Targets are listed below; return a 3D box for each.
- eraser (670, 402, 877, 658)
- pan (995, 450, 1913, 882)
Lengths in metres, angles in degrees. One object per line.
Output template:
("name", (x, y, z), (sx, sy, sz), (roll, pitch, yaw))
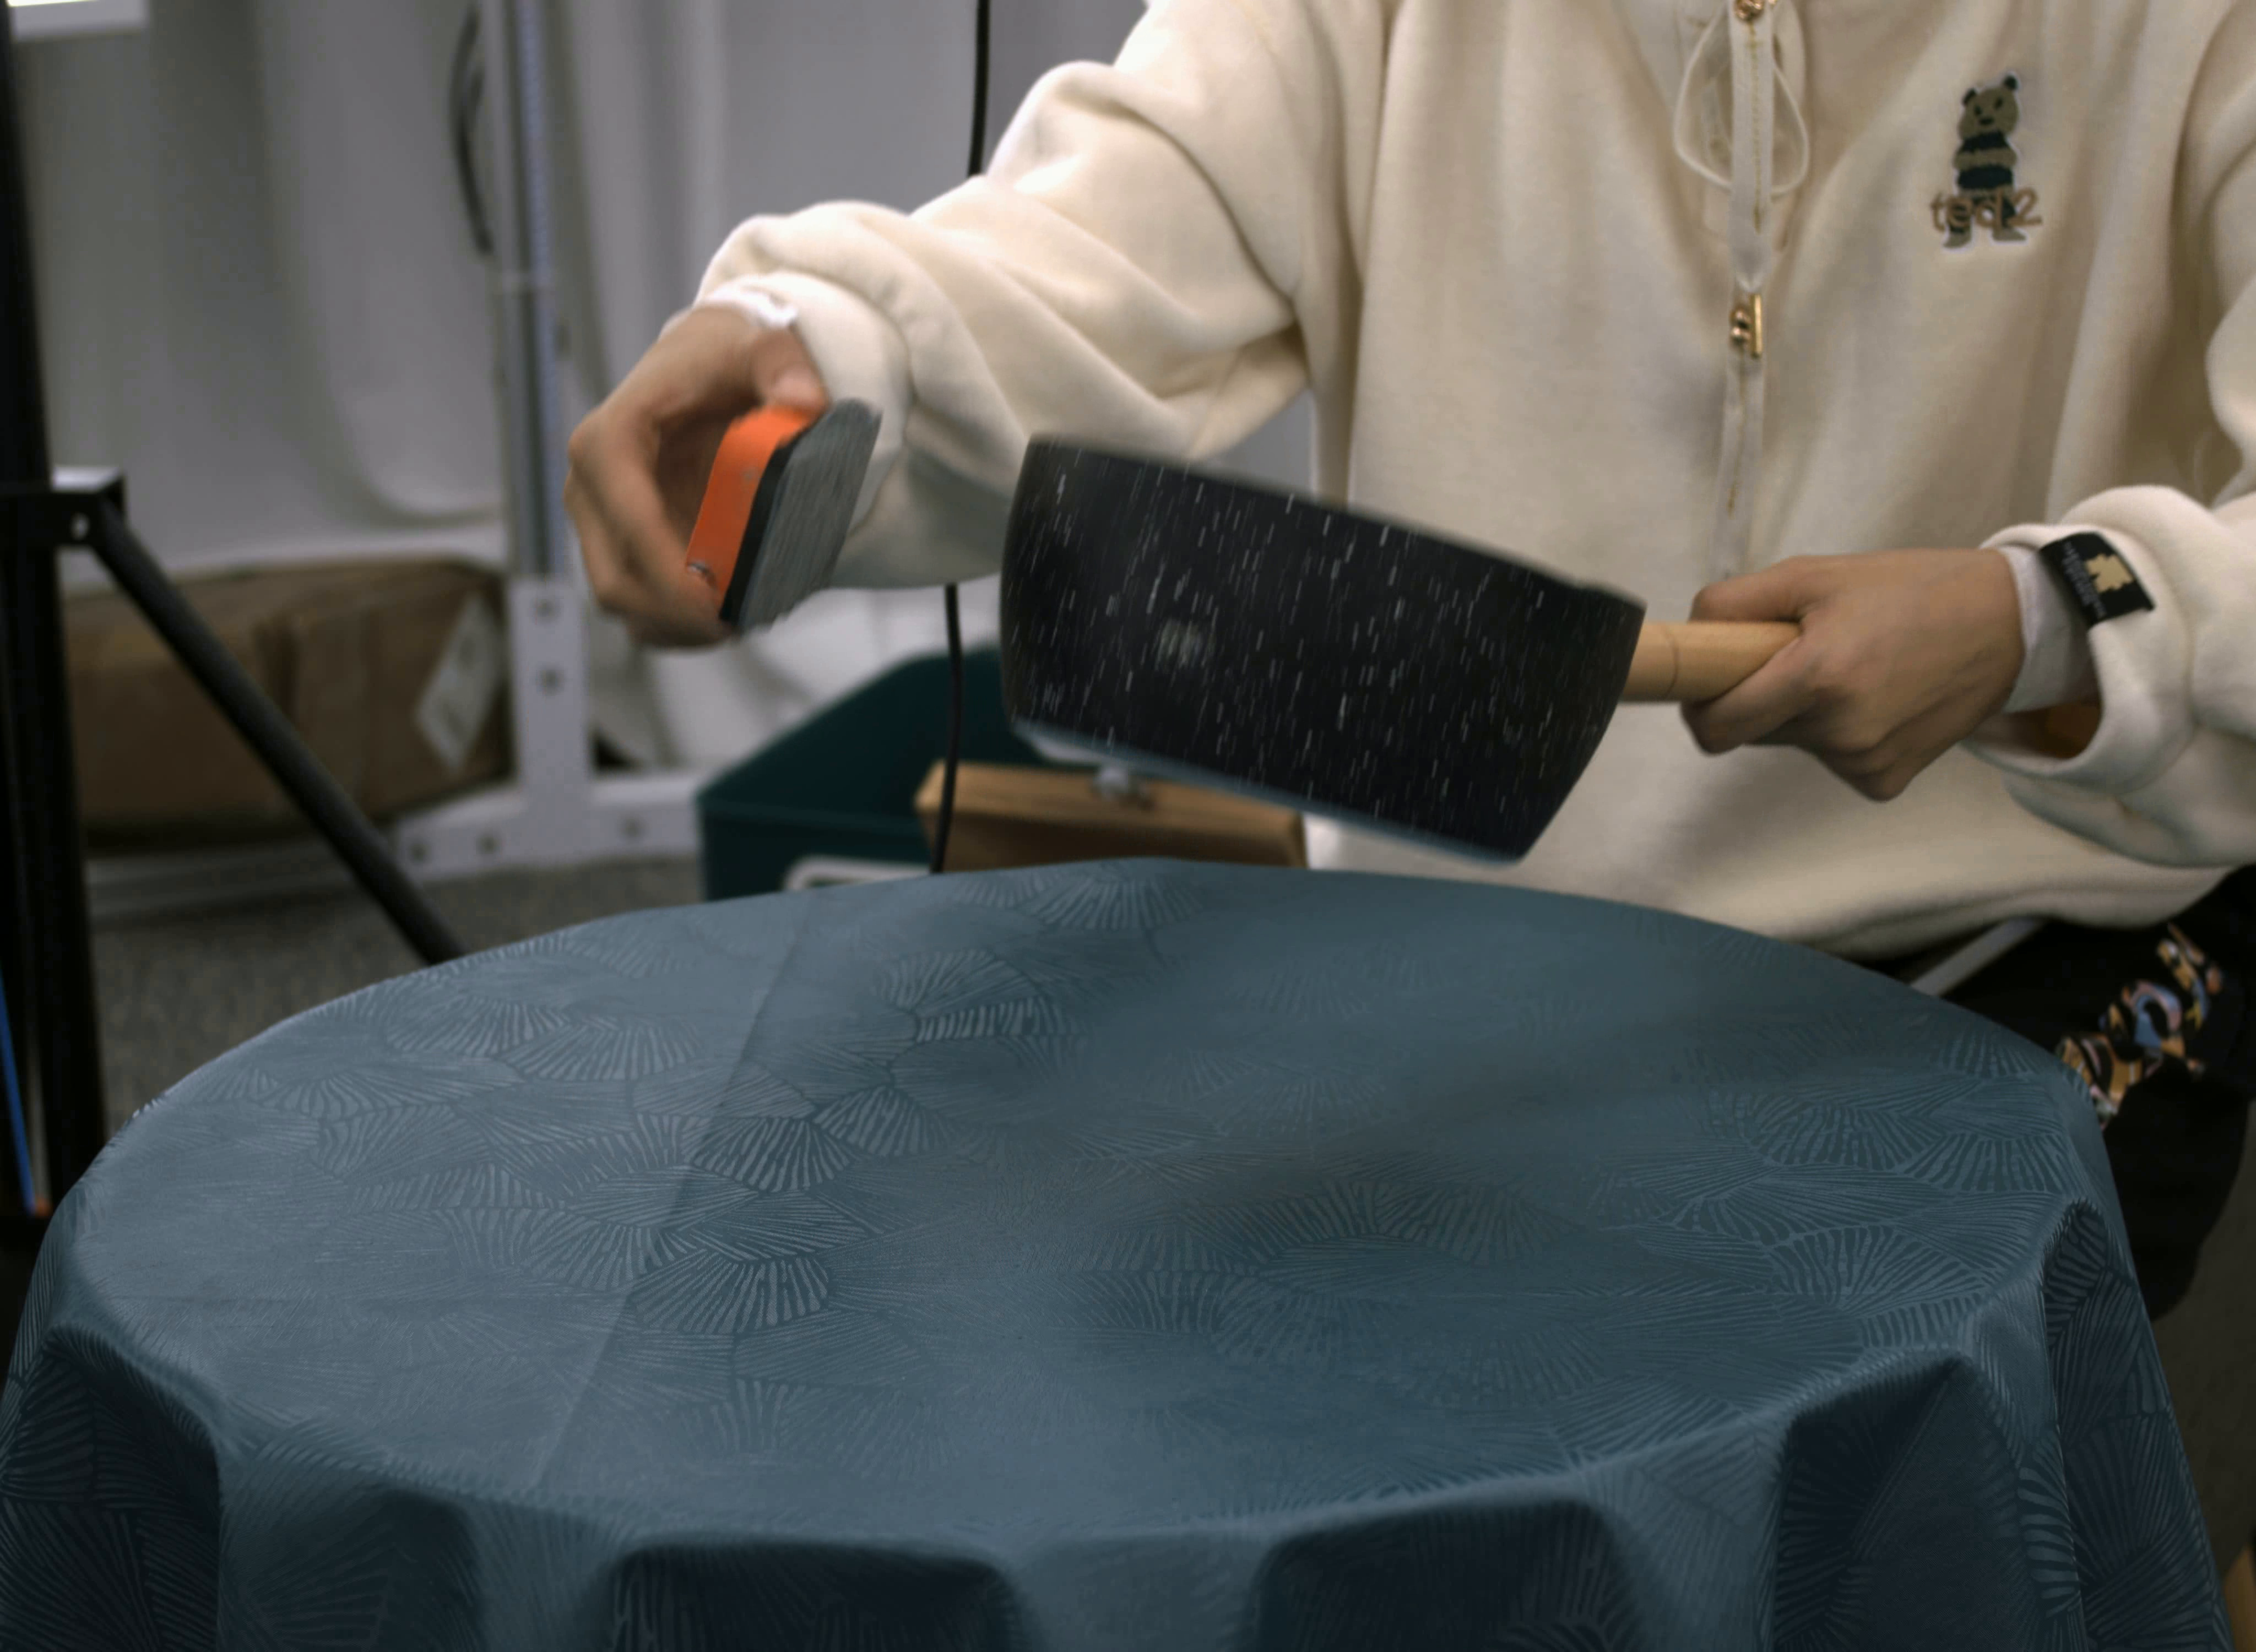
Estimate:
("eraser", (-0.102, -0.087, 1.548), (0.023, 0.059, 0.107), (19, 16, 8))
("pan", (0.107, -0.039, 1.571), (0.333, 0.108, 0.212), (12, 2, -42))
